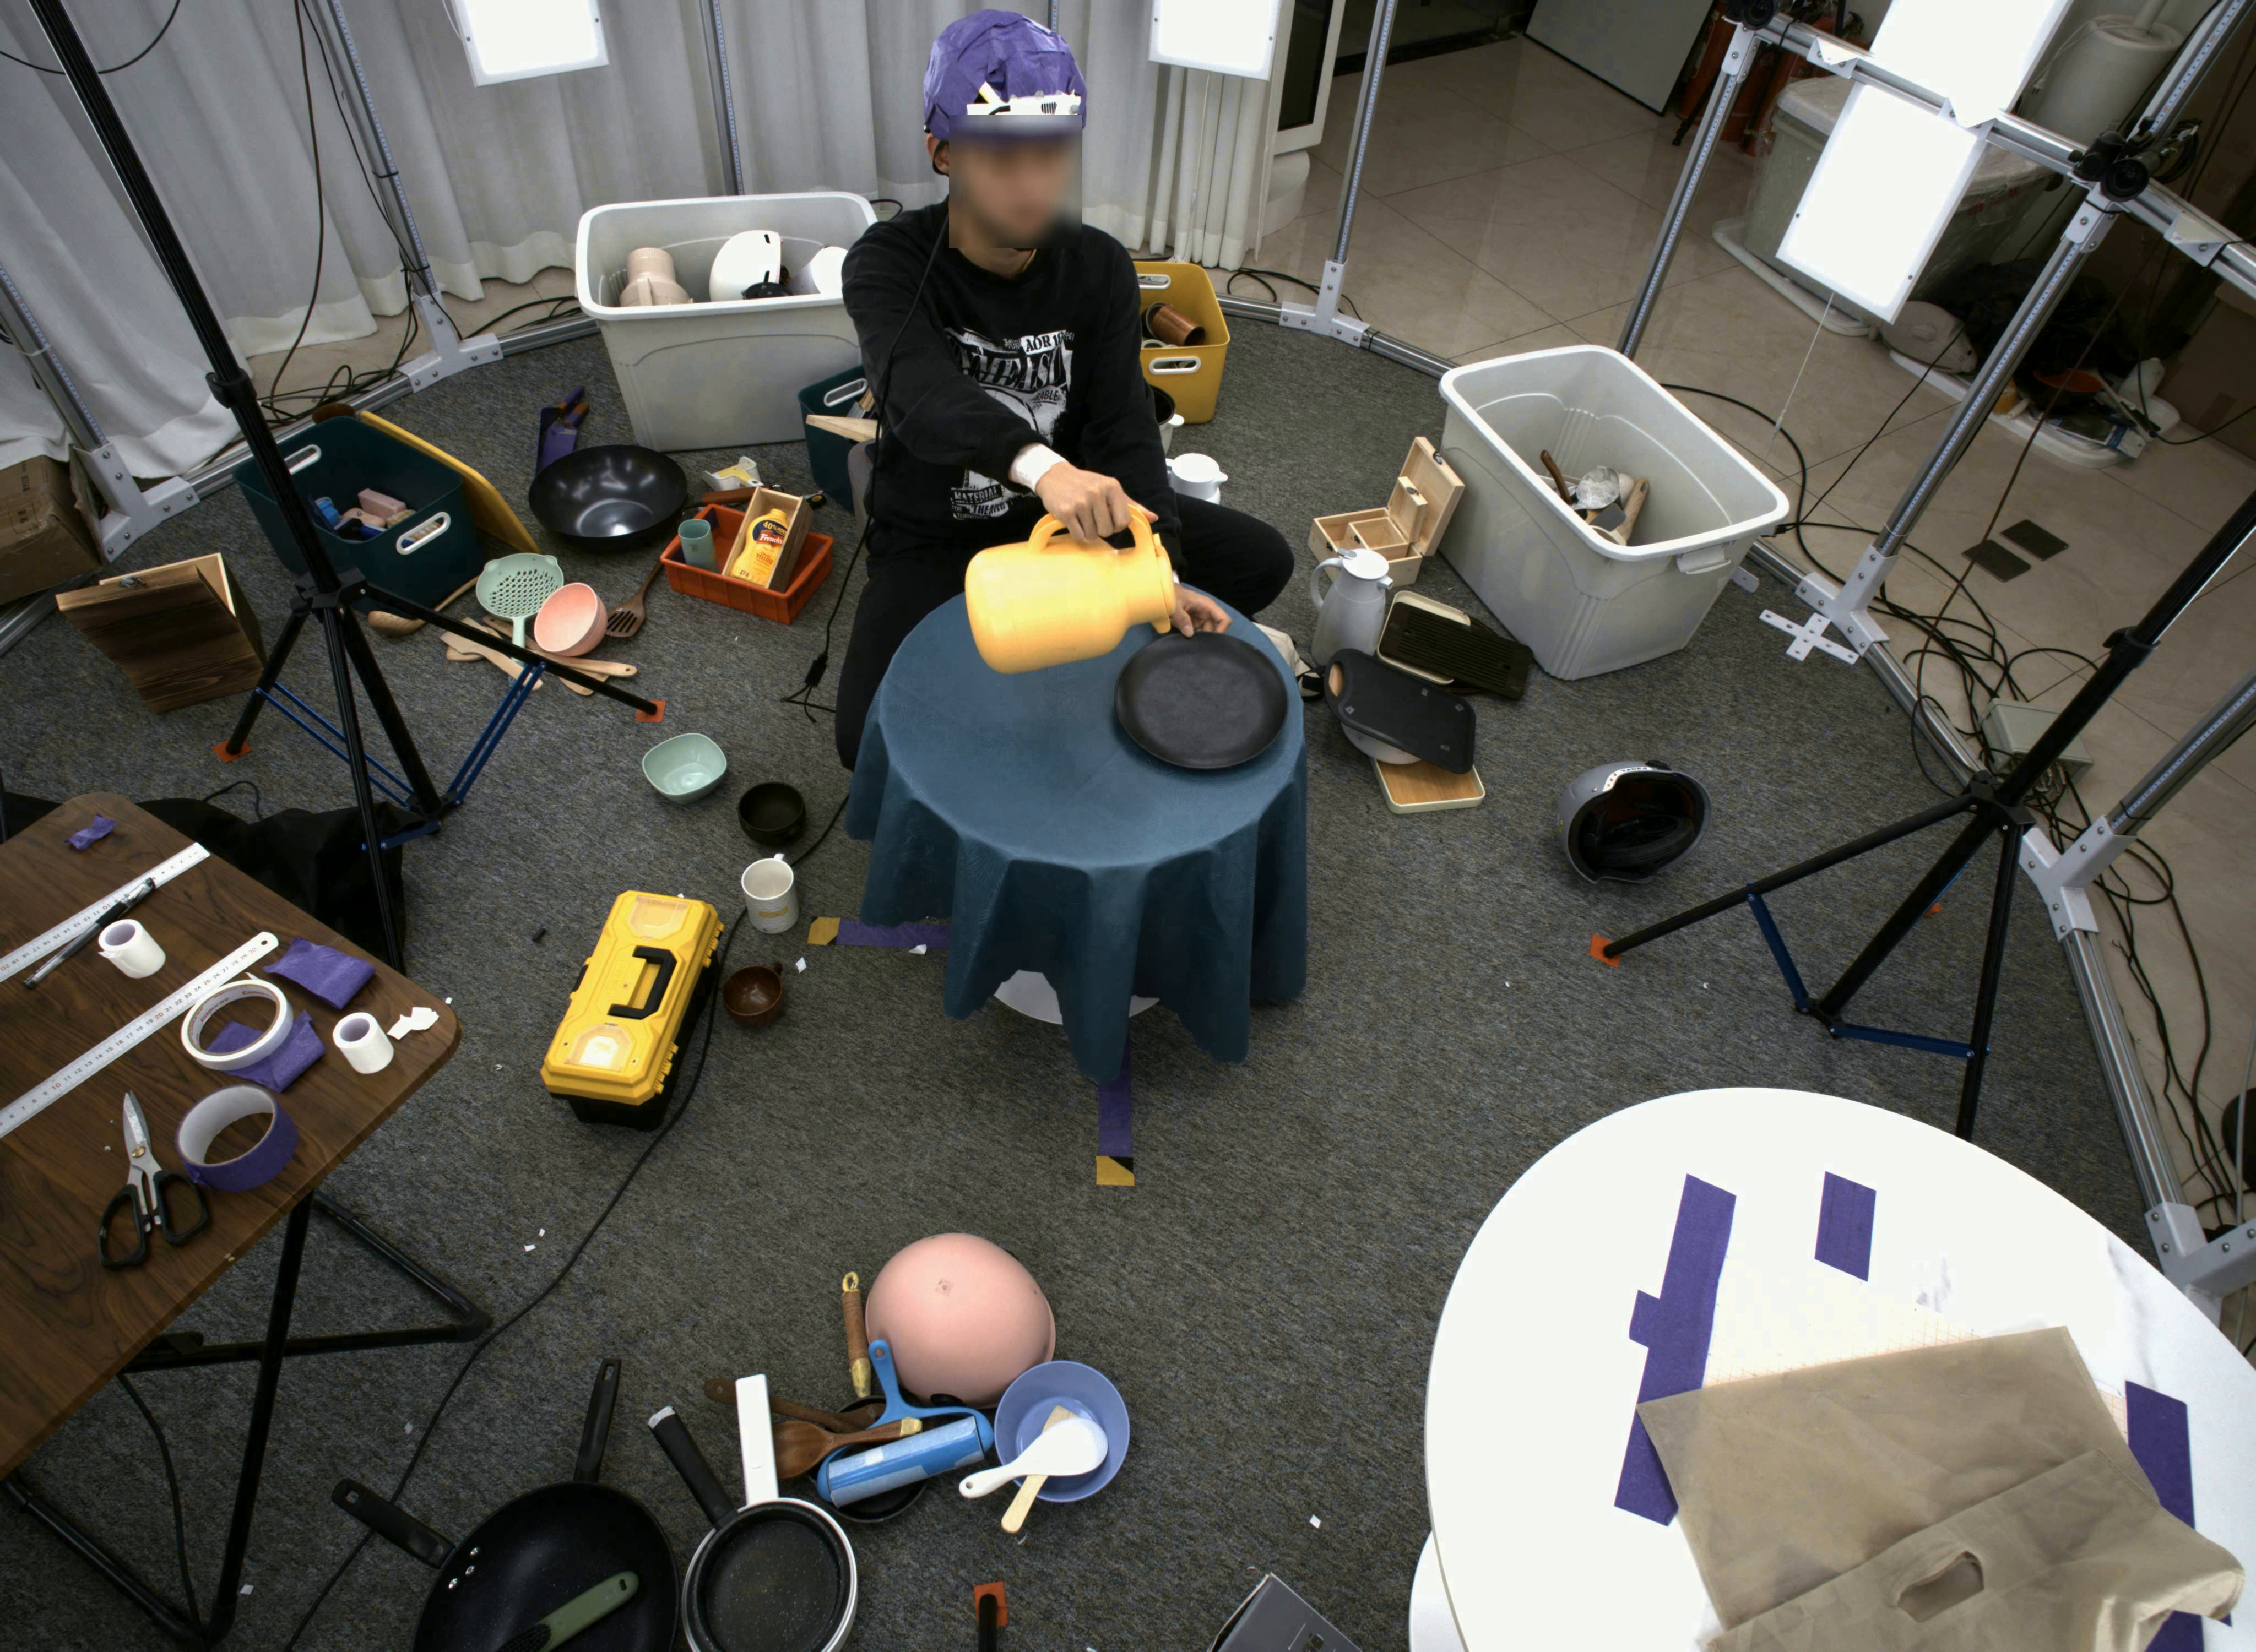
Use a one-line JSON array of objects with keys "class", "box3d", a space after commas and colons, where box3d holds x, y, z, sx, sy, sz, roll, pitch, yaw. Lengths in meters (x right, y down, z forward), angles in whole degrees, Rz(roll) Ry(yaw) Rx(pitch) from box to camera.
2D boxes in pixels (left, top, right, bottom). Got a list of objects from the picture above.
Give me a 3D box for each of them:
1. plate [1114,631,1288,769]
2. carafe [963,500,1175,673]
[{"class": "plate", "box3d": [0.102, -0.174, 1.796, 0.244, 0.023, 0.250, 0, 56, 0]}, {"class": "carafe", "box3d": [-0.075, -0.306, 1.628, 0.260, 0.197, 0.167, -10, 38, 3]}]
